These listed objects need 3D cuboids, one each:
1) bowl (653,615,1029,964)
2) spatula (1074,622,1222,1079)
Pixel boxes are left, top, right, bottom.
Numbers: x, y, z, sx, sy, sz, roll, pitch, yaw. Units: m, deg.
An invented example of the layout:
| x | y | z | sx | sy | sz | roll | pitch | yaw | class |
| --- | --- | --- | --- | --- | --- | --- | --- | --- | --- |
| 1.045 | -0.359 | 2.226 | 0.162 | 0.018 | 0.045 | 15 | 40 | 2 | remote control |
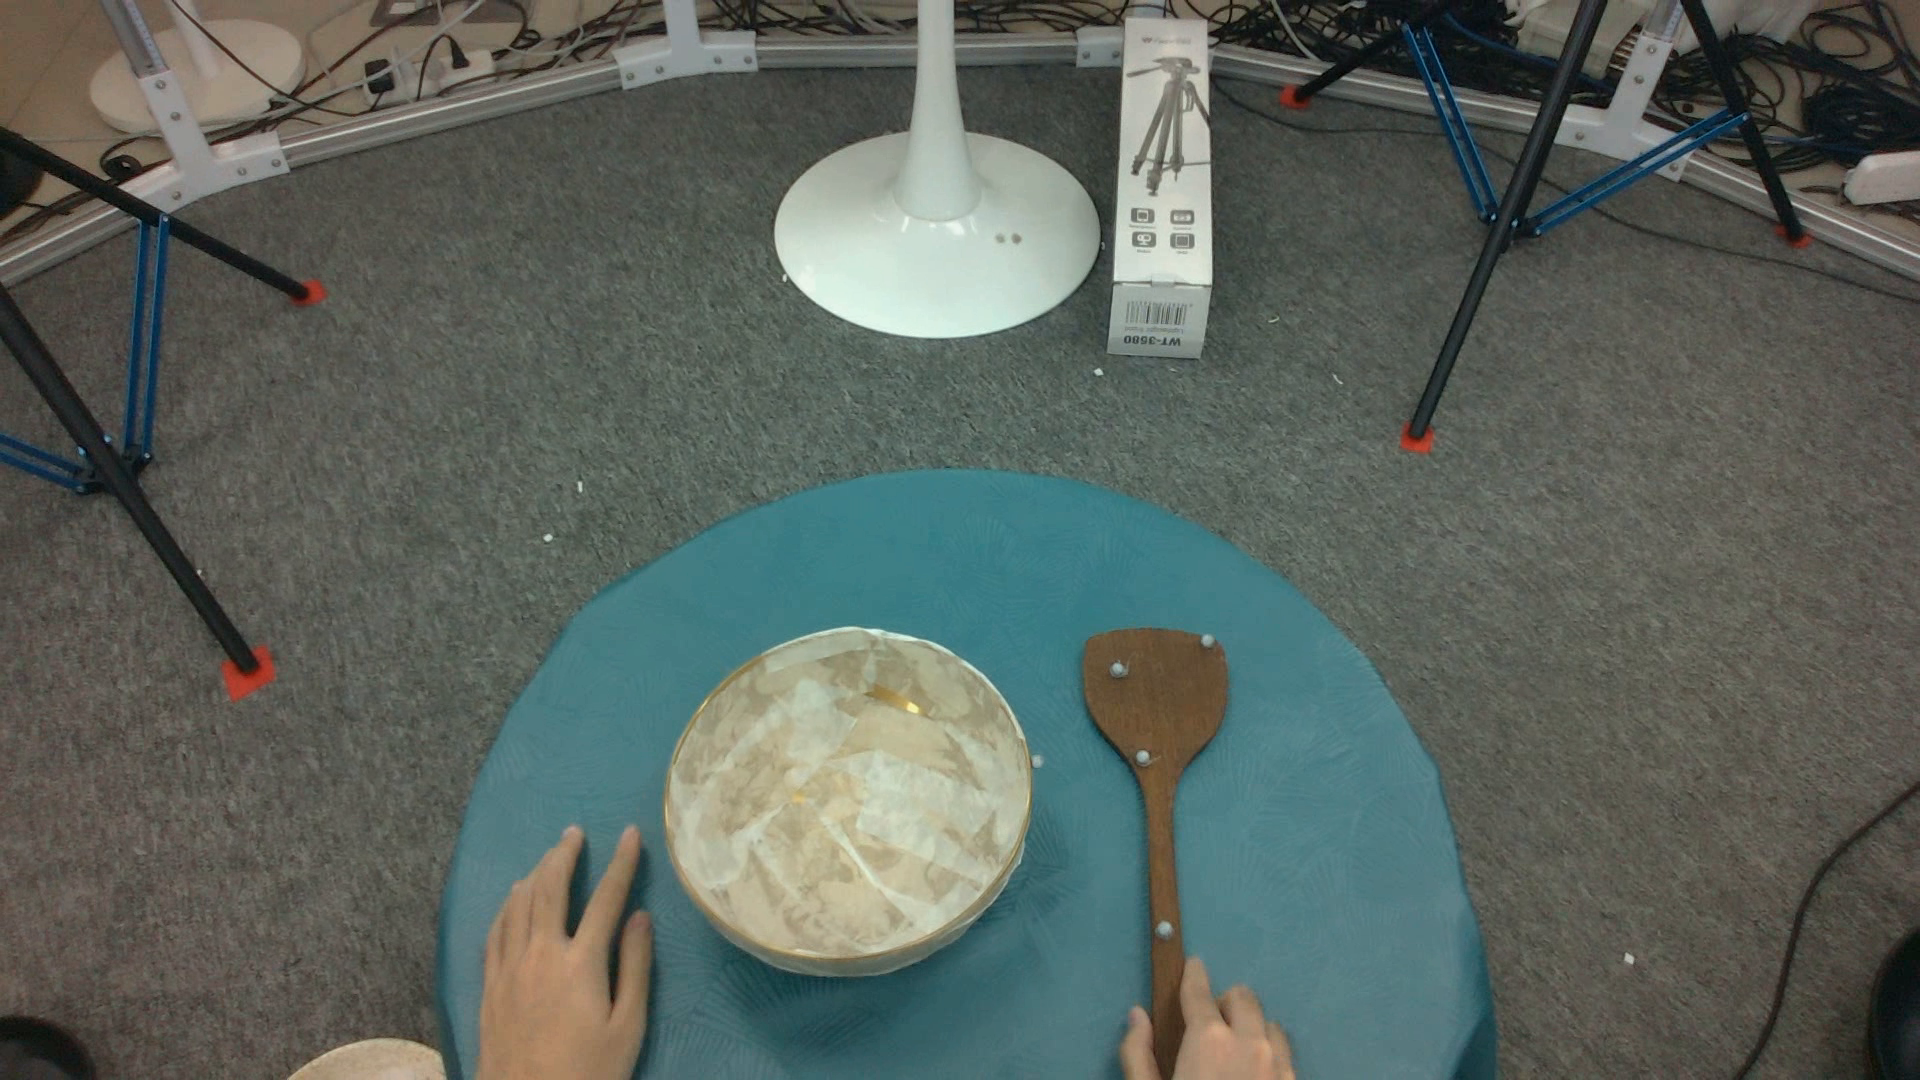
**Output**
| x | y | z | sx | sy | sz | roll | pitch | yaw | class |
| --- | --- | --- | --- | --- | --- | --- | --- | --- | --- |
| -0.067 | 0.153 | 0.779 | 0.215 | 0.094 | 0.215 | 1 | 52 | -2 | bowl |
| 0.114 | 0.202 | 0.790 | 0.096 | 0.016 | 0.388 | 3 | 49 | 1 | spatula |
